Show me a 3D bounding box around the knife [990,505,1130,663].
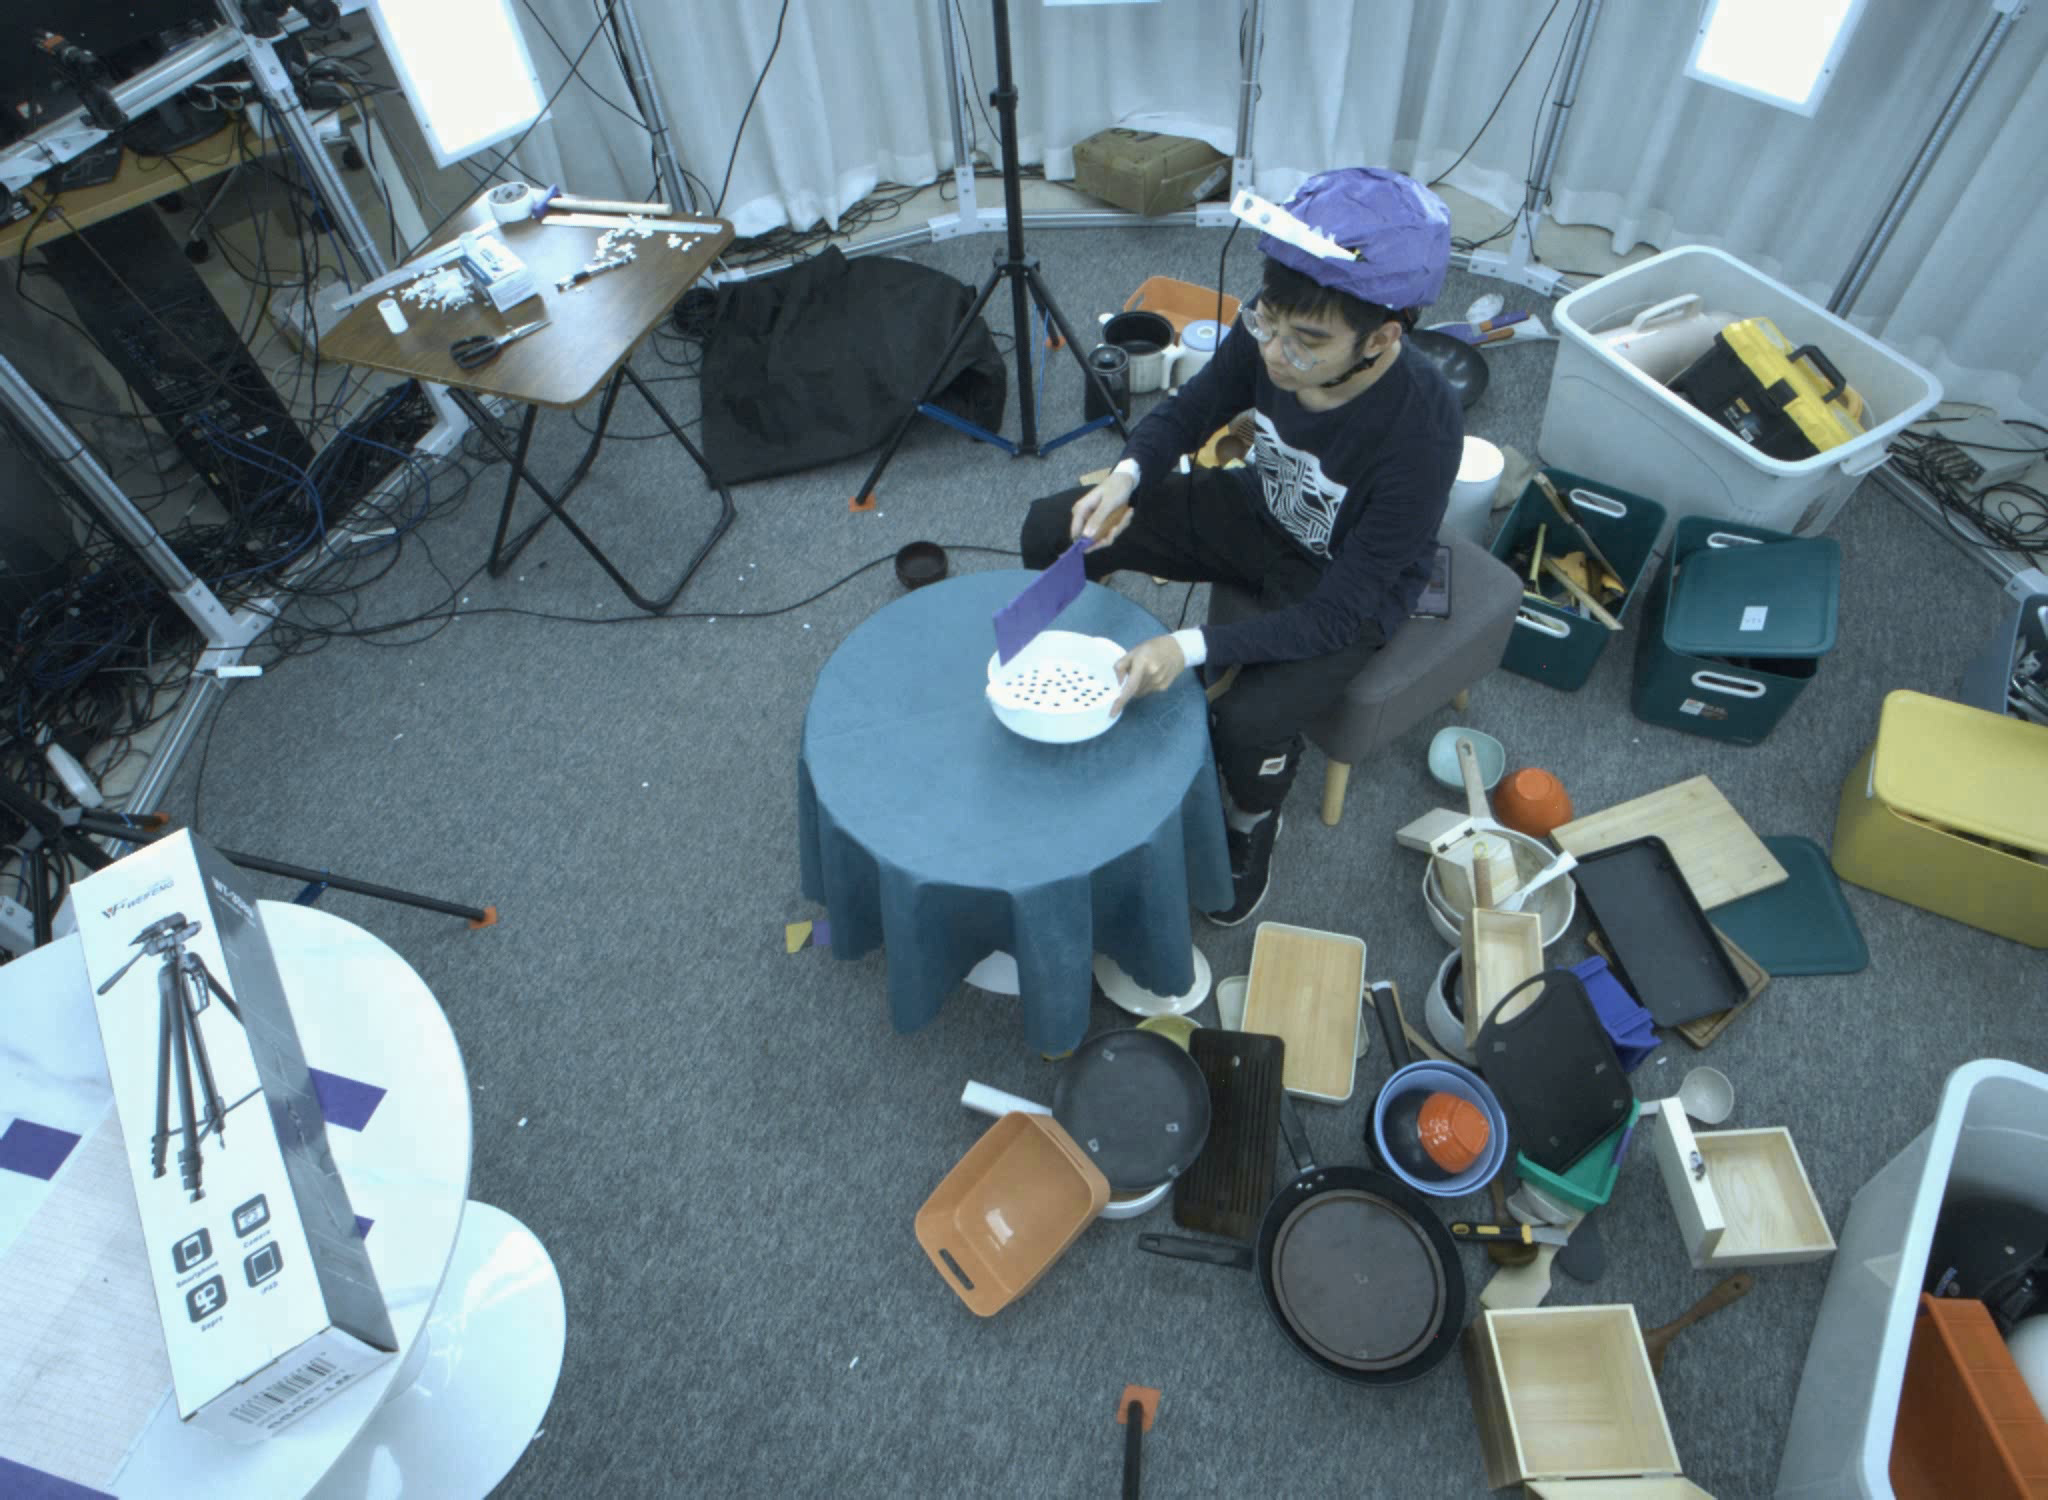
[{"bbox_3d":[0.053,-0.244,1.786,0.031,0.105,0.317,28,56,28],"label":"knife"}]

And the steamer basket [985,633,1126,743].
[{"bbox_3d":[0.044,-0.090,1.786,0.234,0.070,0.197,-23,47,-34],"label":"steamer basket"}]
